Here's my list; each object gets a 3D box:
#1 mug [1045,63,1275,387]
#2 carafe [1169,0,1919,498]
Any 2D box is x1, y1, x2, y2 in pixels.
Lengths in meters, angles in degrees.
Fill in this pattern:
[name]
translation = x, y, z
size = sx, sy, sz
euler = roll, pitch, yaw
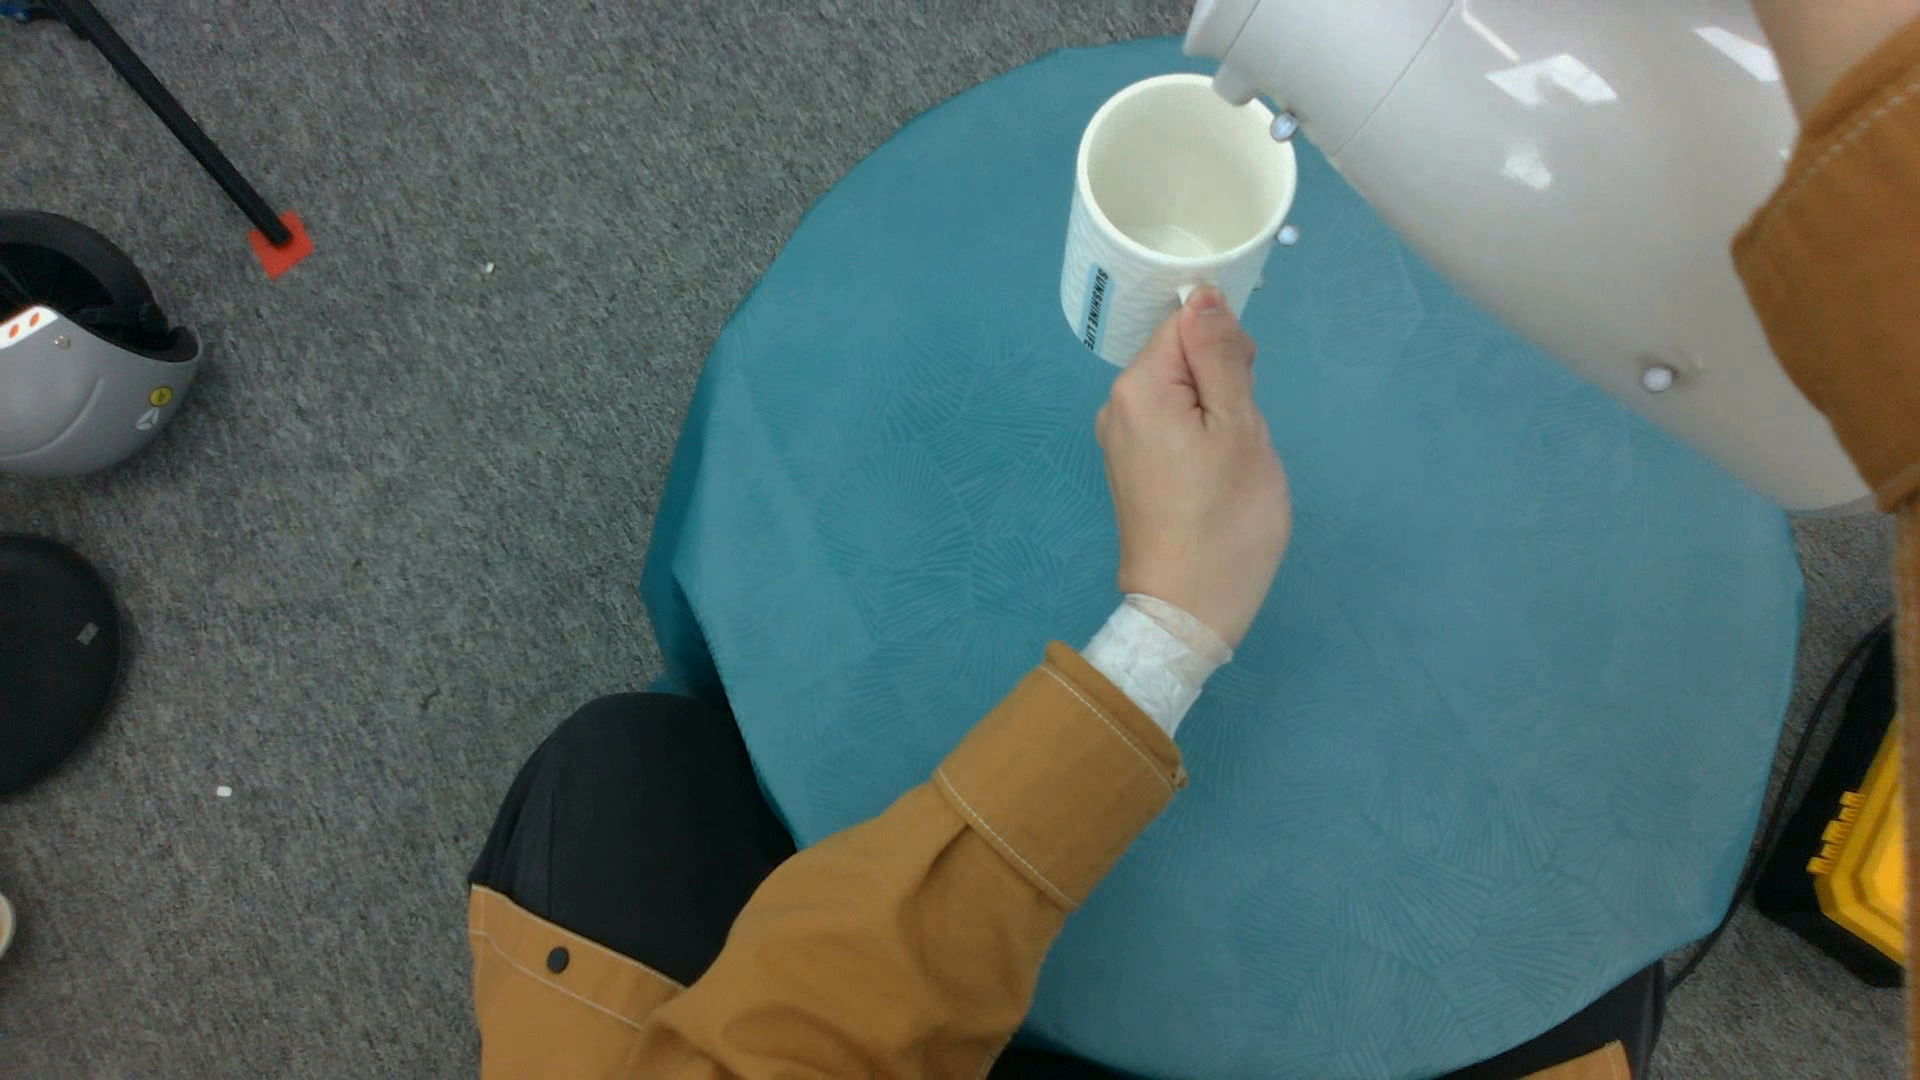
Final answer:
[mug]
translation = 0.084, -0.120, 0.580
size = 0.085, 0.101, 0.118
euler = -10, 71, -4
[carafe]
translation = 0.194, -0.140, 0.407
size = 0.248, 0.167, 0.133
euler = 32, 62, -2
